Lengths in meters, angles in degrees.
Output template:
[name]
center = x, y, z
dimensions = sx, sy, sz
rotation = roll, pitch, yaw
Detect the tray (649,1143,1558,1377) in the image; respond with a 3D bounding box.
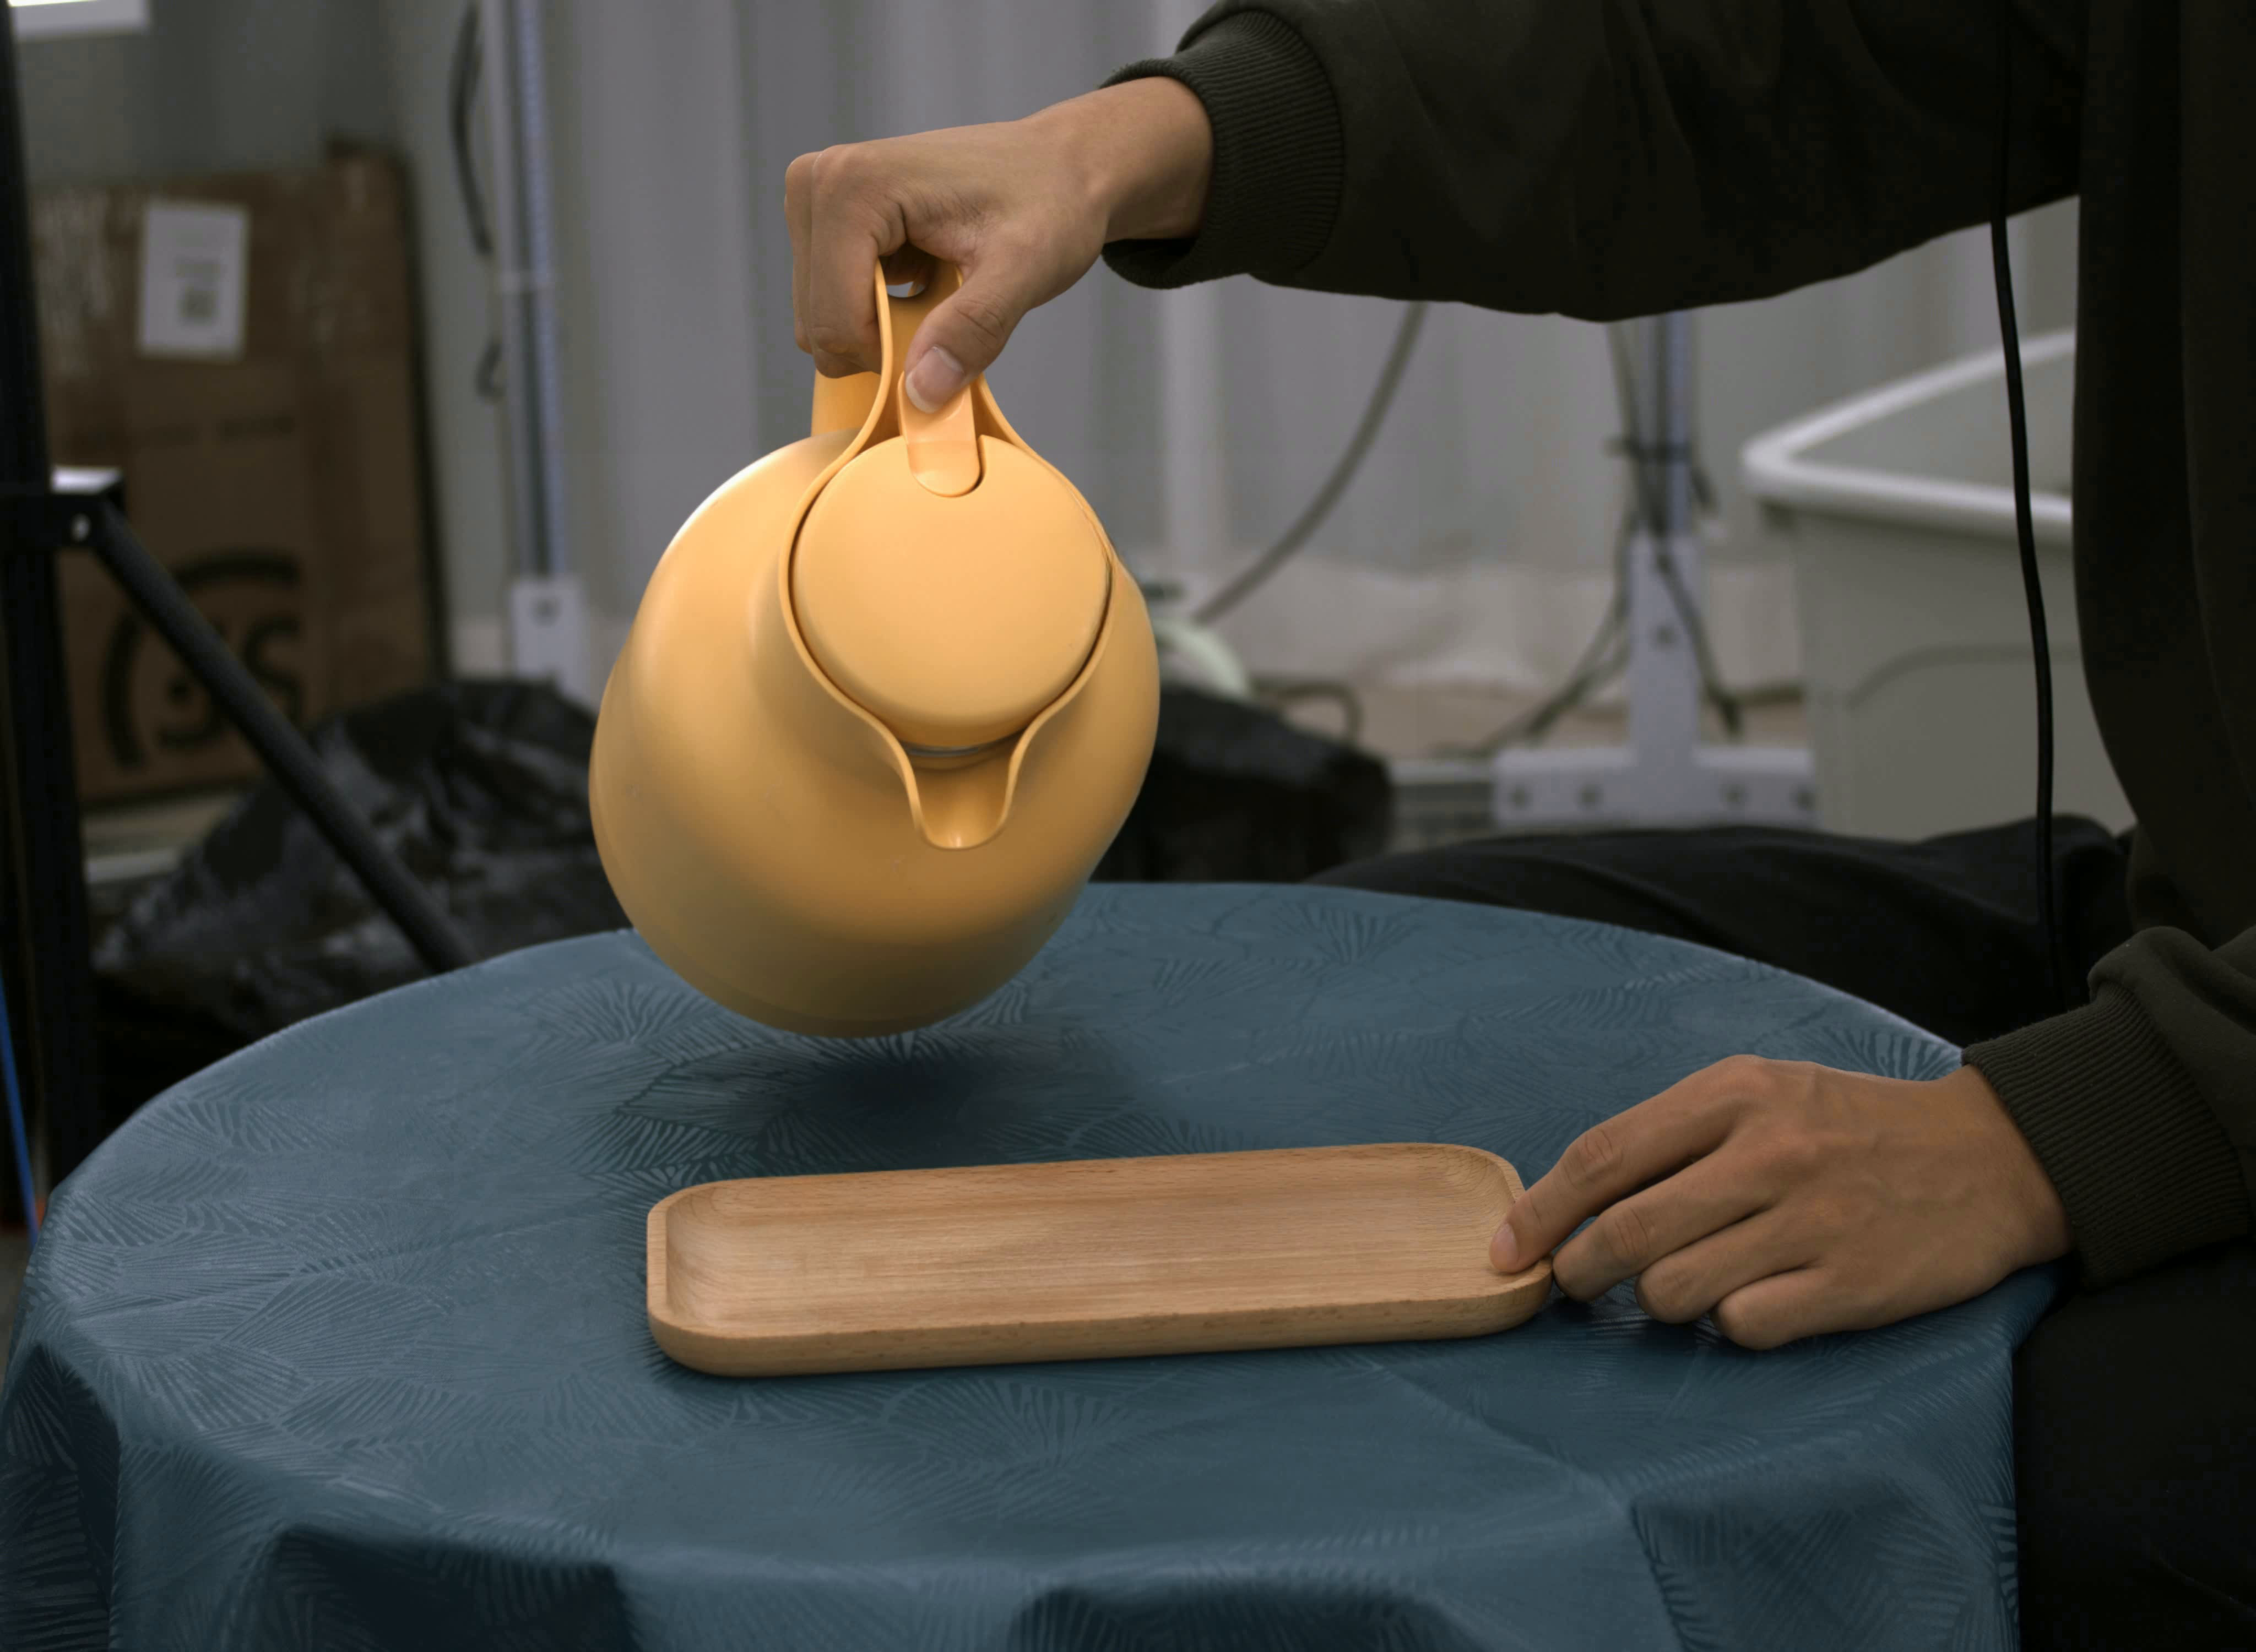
[tray]
center = -0.008, 0.121, 1.486
dimensions = 0.249, 0.023, 0.131
rotation = -2, 18, -1

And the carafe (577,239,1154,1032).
[carafe]
center = -0.073, -0.058, 1.615
dimensions = 0.161, 0.204, 0.262
rotation = 2, -16, -13
